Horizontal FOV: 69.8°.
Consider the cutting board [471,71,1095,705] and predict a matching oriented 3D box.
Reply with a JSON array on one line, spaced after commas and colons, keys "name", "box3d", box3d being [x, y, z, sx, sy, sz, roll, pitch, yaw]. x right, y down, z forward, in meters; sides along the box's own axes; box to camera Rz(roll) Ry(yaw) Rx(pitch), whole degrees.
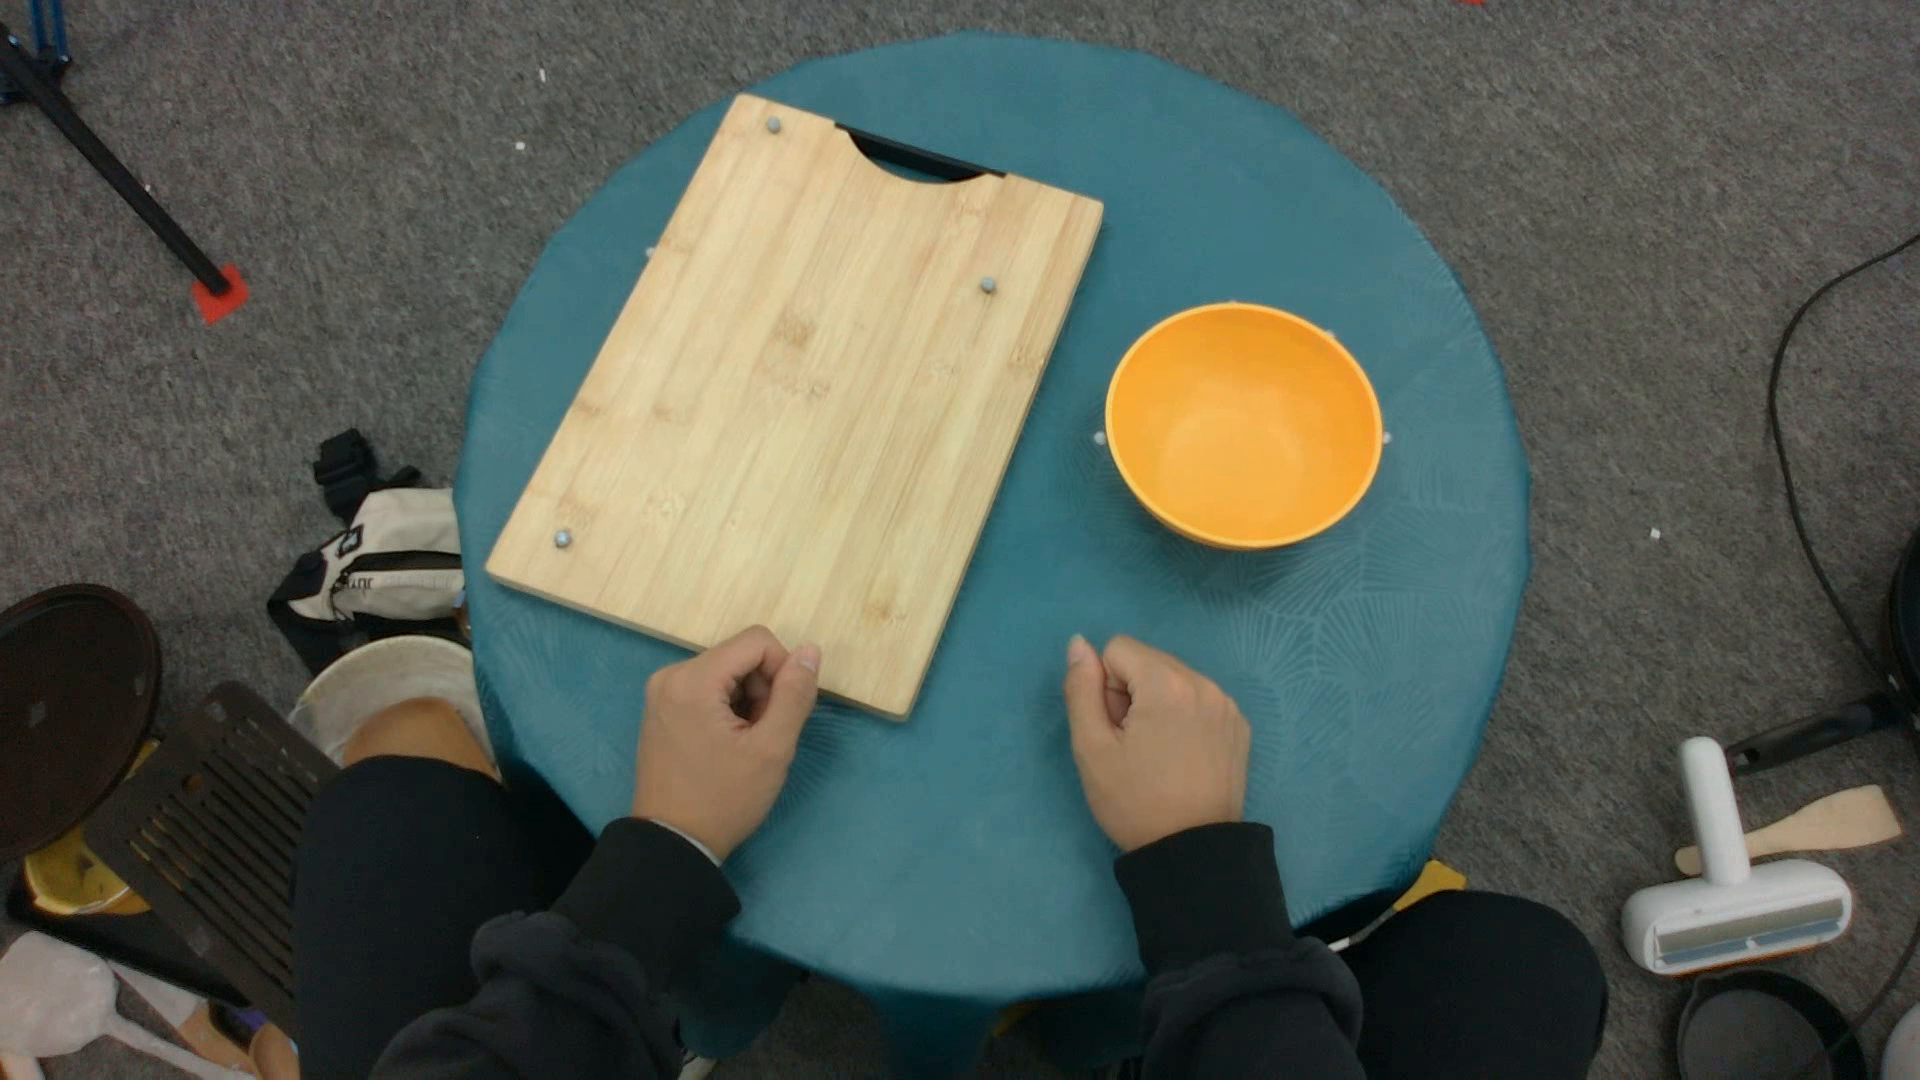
[{"name": "cutting board", "box3d": [-0.091, -0.102, 0.787, 0.250, 0.023, 0.350, 18, 68, 6]}]

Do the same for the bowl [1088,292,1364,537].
[{"name": "bowl", "box3d": [0.141, -0.060, 0.753, 0.145, 0.060, 0.146, -1, 68, 2]}]
